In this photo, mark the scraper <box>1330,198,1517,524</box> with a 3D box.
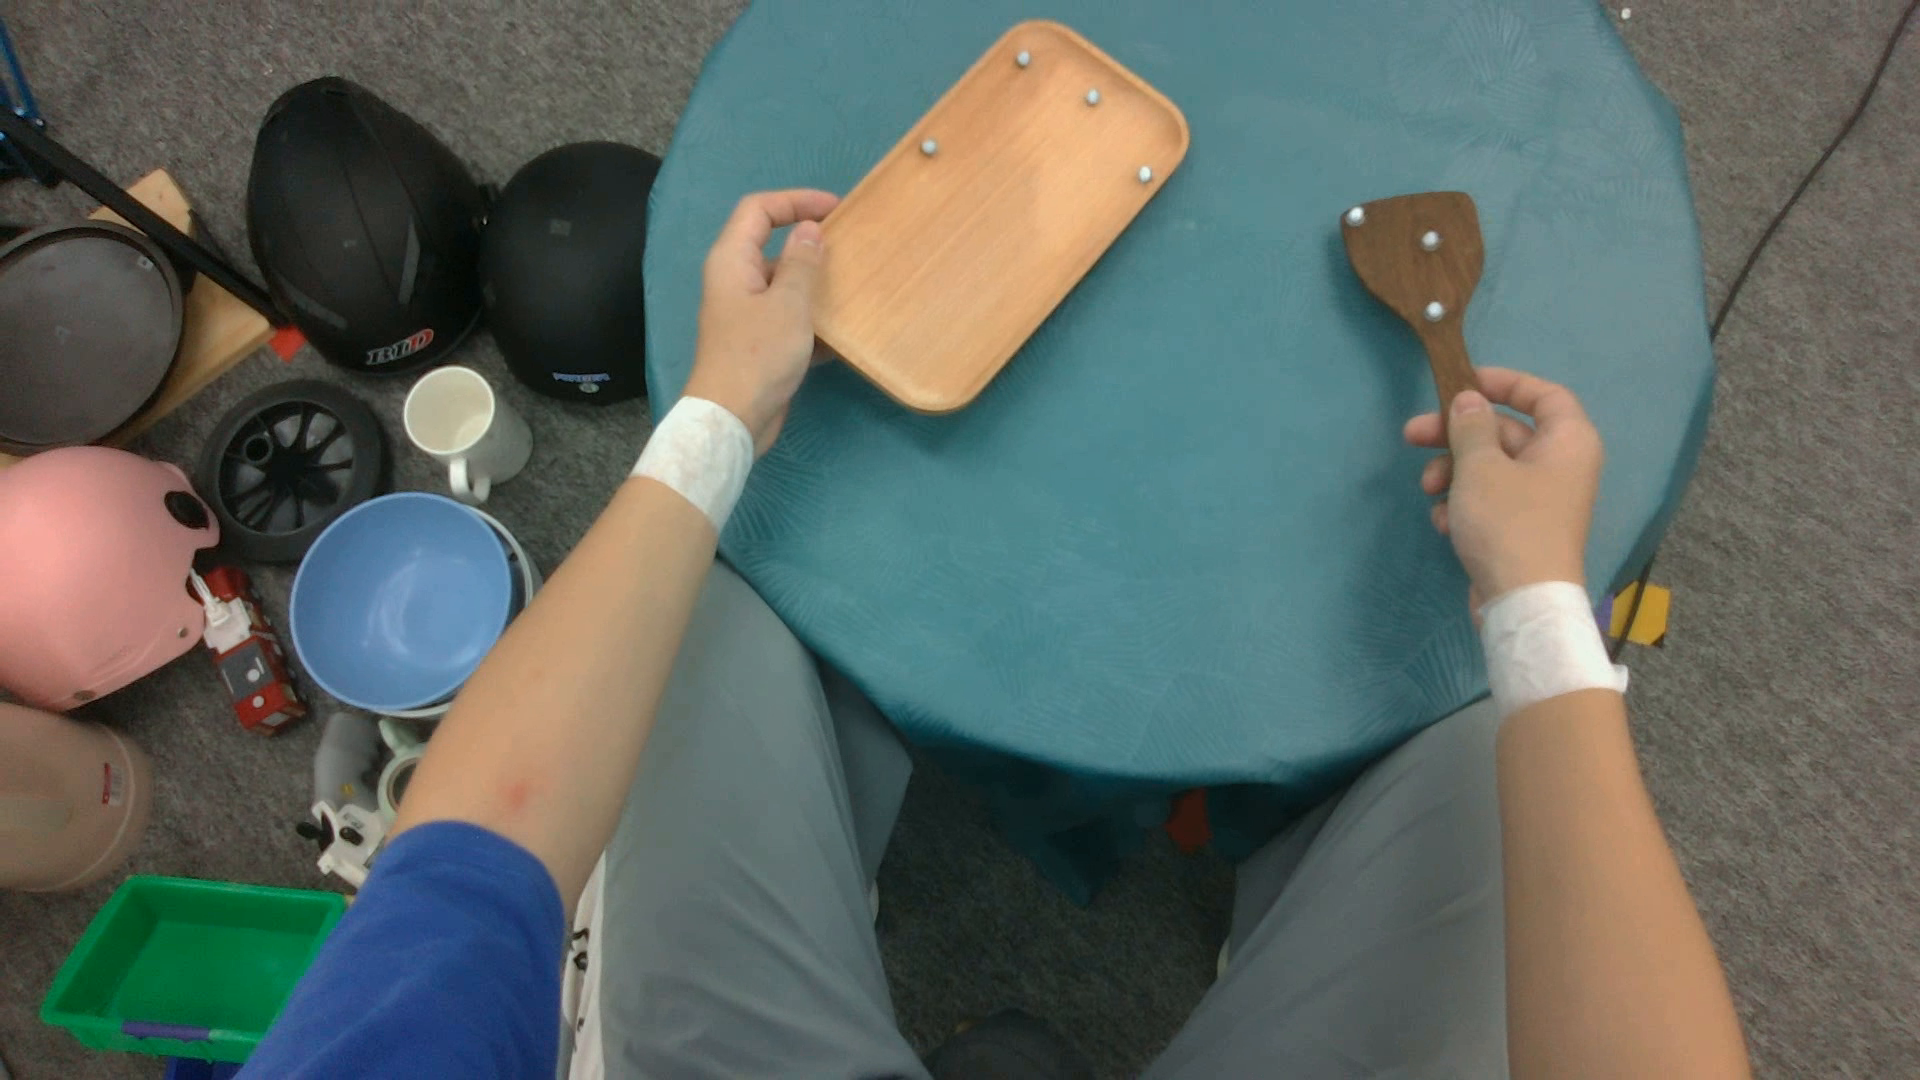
[{"bbox_3d":[0.255,-0.099,0.733,0.076,0.011,0.212,-8,59,5],"label":"scraper"}]

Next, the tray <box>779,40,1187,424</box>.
[{"bbox_3d":[0.017,-0.178,0.778,0.130,0.023,0.251,37,71,11],"label":"tray"}]
